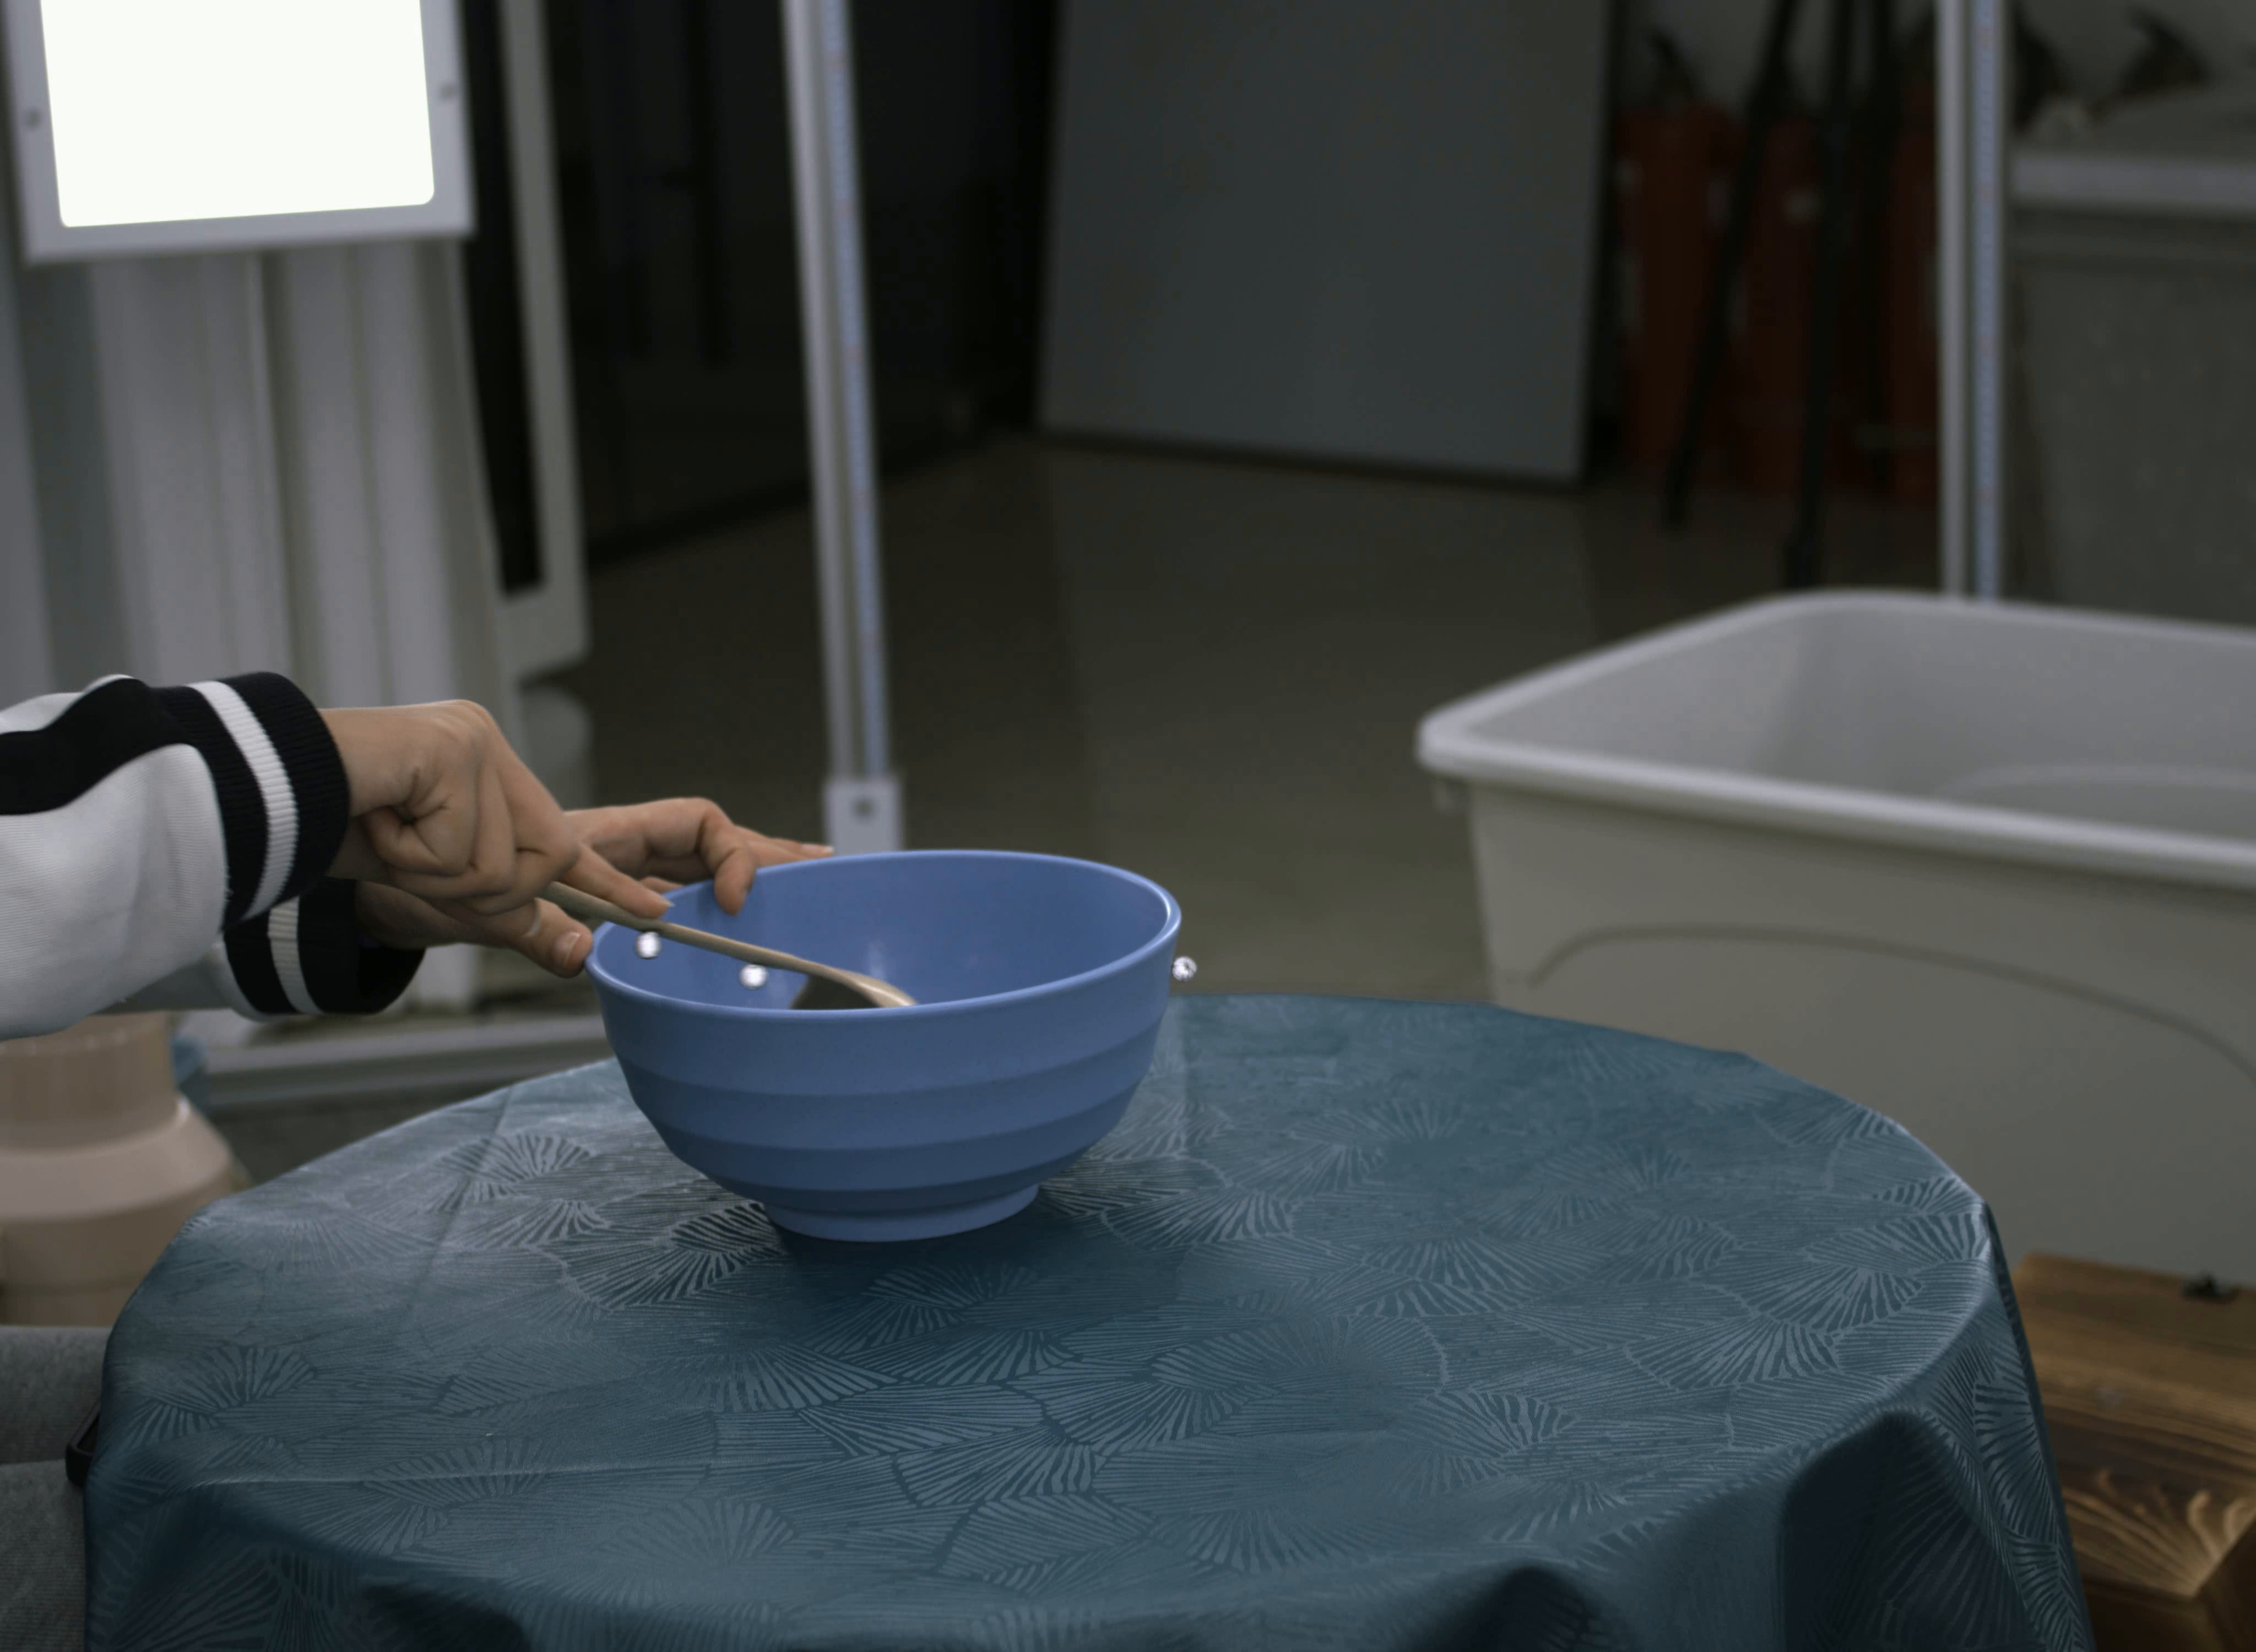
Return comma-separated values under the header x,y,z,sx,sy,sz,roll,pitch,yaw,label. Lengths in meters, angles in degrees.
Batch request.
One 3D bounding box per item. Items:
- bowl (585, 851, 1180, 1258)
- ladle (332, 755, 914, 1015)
x,y,z,sx,sy,sz,roll,pitch,yaw,label
-0.077,0.081,1.769,0.194,0.096,0.197,-4,15,0,bowl
-0.159,0.054,1.673,0.249,0.073,0.073,25,-5,-40,ladle
